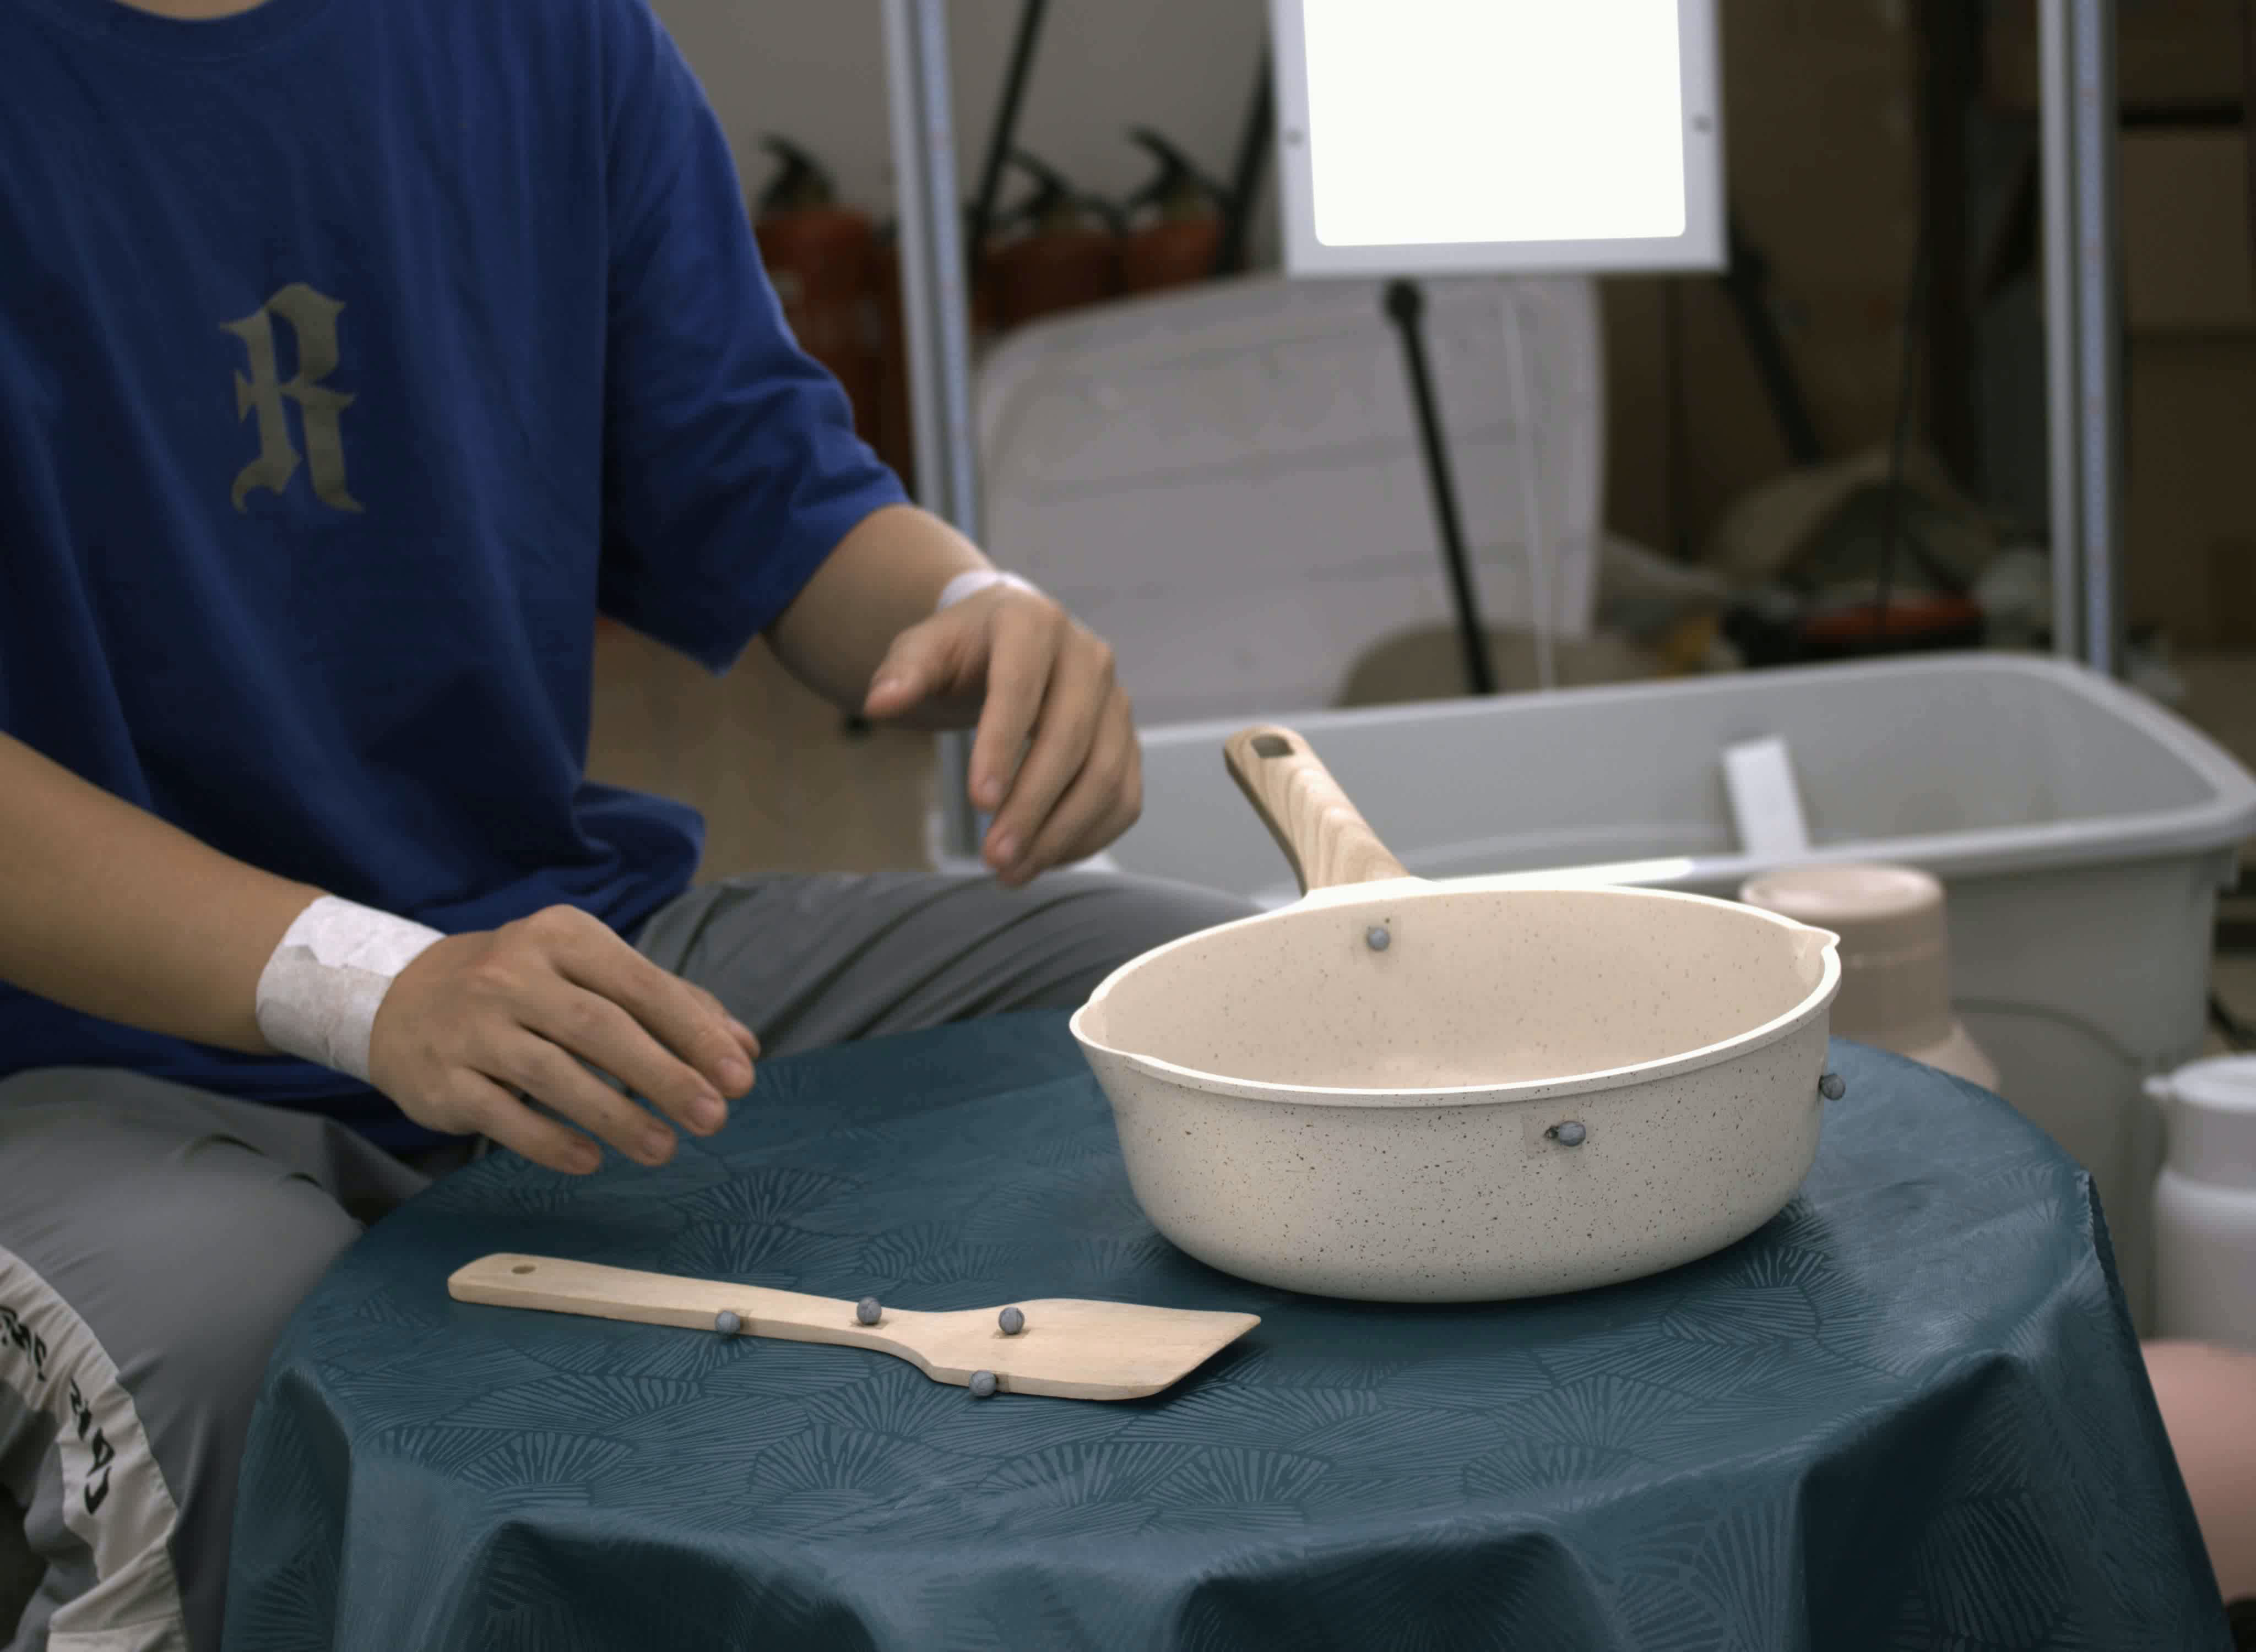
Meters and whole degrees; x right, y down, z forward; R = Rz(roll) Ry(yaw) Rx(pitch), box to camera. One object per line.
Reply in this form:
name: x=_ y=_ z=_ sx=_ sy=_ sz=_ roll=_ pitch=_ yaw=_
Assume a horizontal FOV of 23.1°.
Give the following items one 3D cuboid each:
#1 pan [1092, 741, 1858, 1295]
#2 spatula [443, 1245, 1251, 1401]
pan: x=0.100 y=0.061 z=1.917 sx=0.260 sy=0.102 sz=0.438 roll=-9 pitch=14 yaw=-10
spatula: x=-0.101 y=0.158 z=1.785 sx=0.298 sy=0.011 sz=0.070 roll=4 pitch=18 yaw=32
